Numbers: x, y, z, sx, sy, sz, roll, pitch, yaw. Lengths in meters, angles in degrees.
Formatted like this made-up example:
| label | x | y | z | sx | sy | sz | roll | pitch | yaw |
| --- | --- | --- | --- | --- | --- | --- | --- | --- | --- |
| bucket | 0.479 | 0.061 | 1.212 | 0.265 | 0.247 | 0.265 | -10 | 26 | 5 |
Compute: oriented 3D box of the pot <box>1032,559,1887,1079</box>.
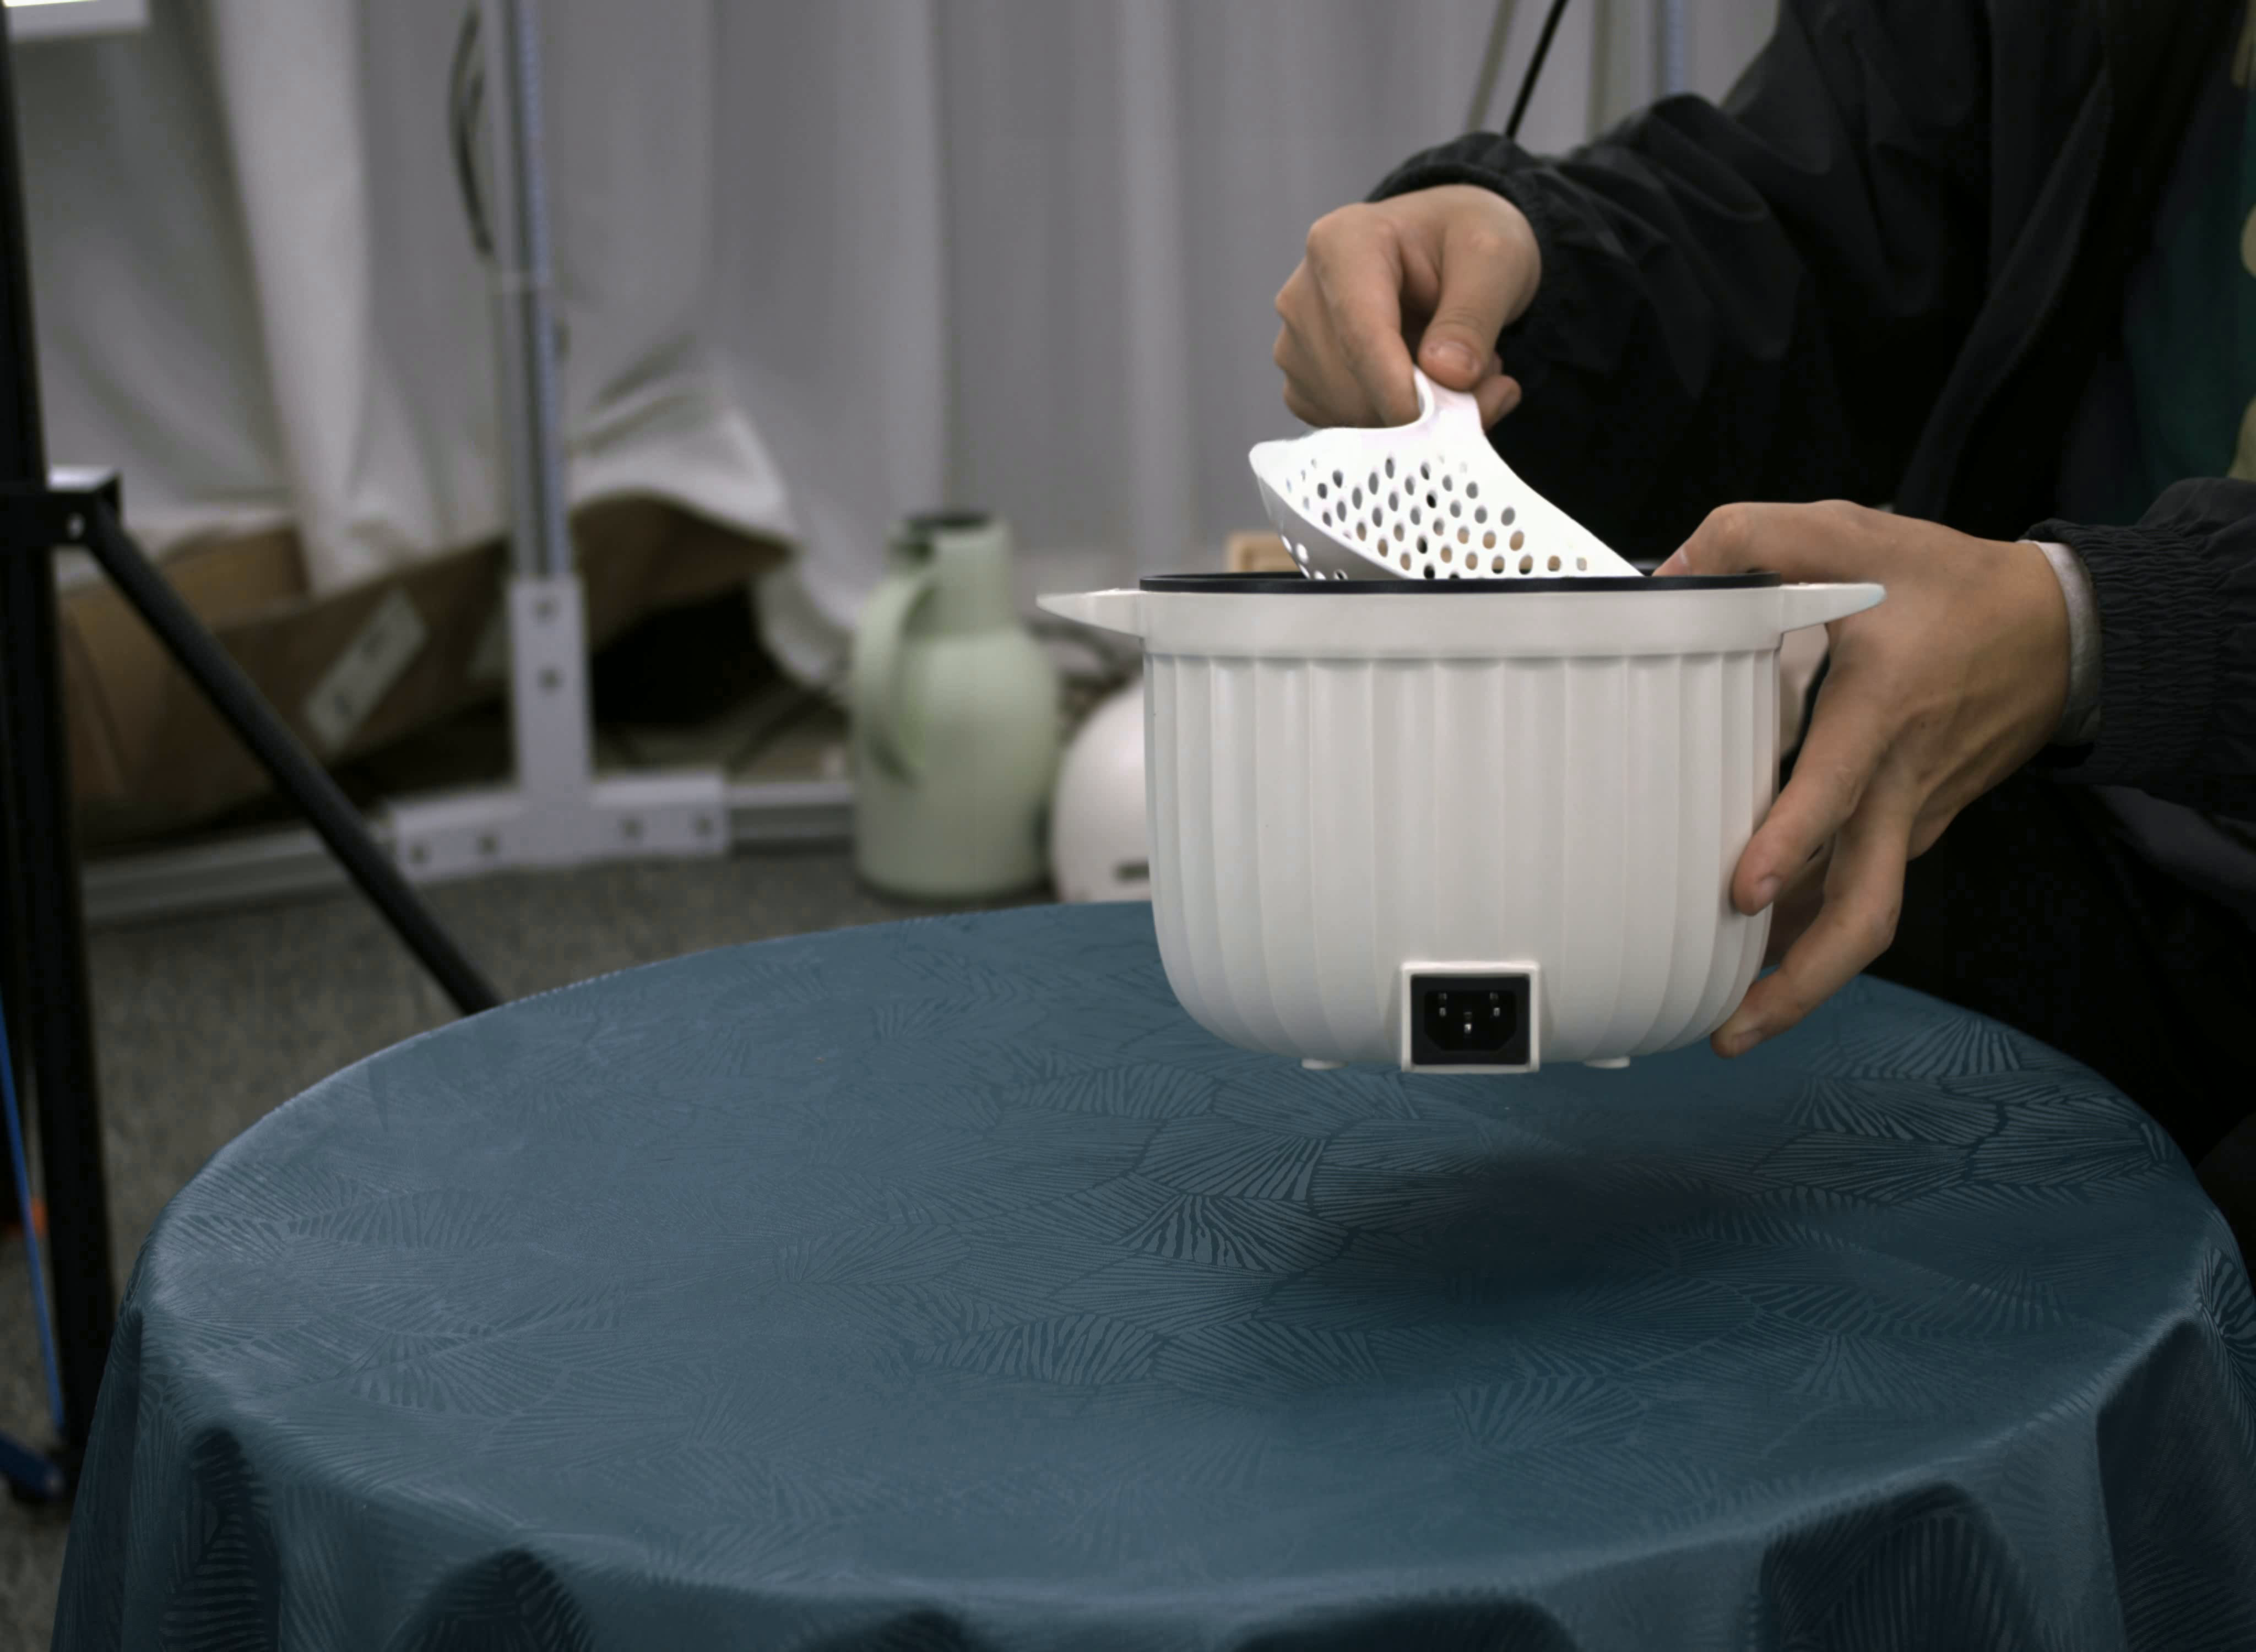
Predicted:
| label | x | y | z | sx | sy | sz | roll | pitch | yaw |
| --- | --- | --- | --- | --- | --- | --- | --- | --- | --- |
| pot | 0.092 | -0.005 | 1.500 | 0.240 | 0.143 | 0.190 | 1 | 6 | 3 |

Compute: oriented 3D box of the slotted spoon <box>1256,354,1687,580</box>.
| label | x | y | z | sx | sy | sz | roll | pitch | yaw |
| --- | --- | --- | --- | --- | --- | --- | --- | --- | --- |
| slotted spoon | 0.094 | -0.106 | 1.610 | 0.135 | 0.050 | 0.349 | 19 | 20 | -6 |
